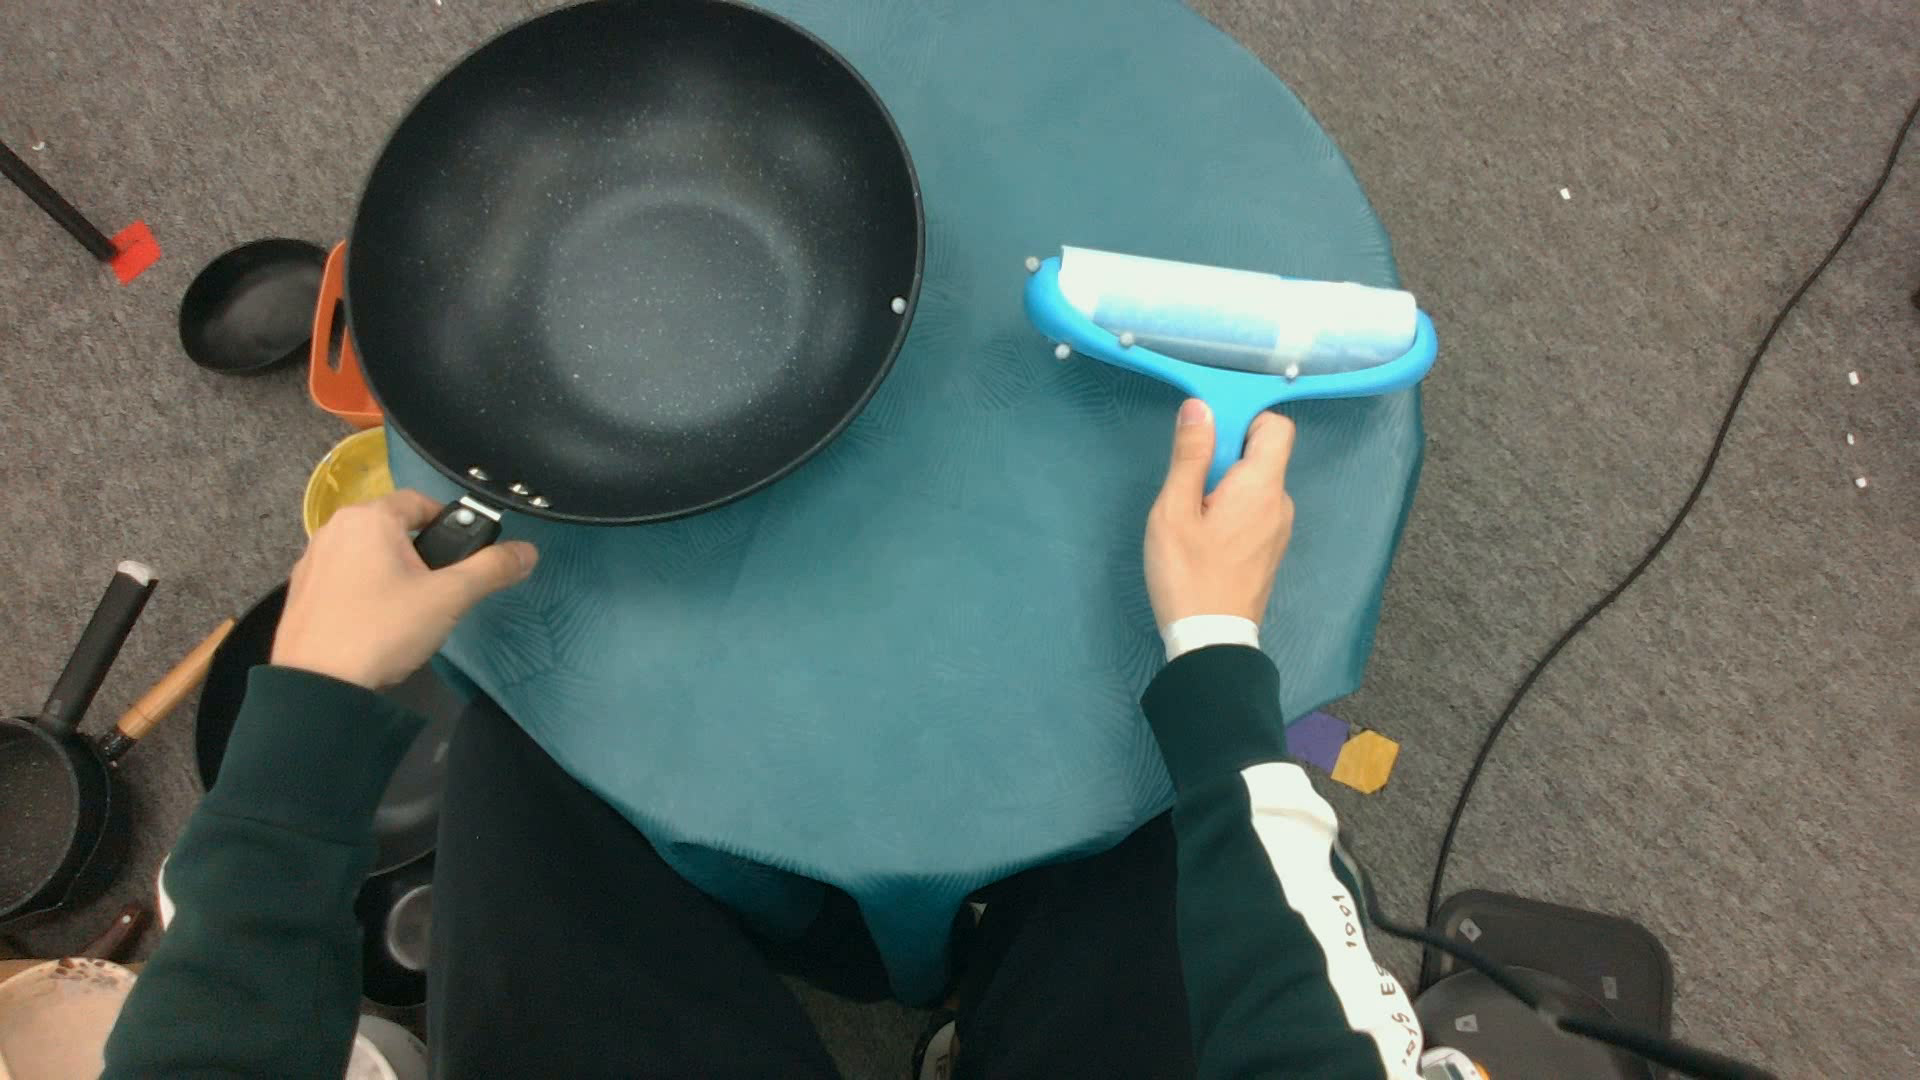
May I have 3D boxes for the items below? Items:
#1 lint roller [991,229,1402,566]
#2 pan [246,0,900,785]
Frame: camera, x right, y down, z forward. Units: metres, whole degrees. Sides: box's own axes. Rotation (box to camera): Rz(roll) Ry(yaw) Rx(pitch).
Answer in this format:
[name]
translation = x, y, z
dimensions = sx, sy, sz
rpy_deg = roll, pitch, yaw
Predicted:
[lint roller]
translation = 0.129, -0.080, 0.748
dimensions = 0.229, 0.068, 0.181
rpy_deg = 3, 73, -5
[pan]
translation = -0.219, -0.086, 0.738
dimensions = 0.310, 0.111, 0.478
rpy_deg = 23, 77, 9
